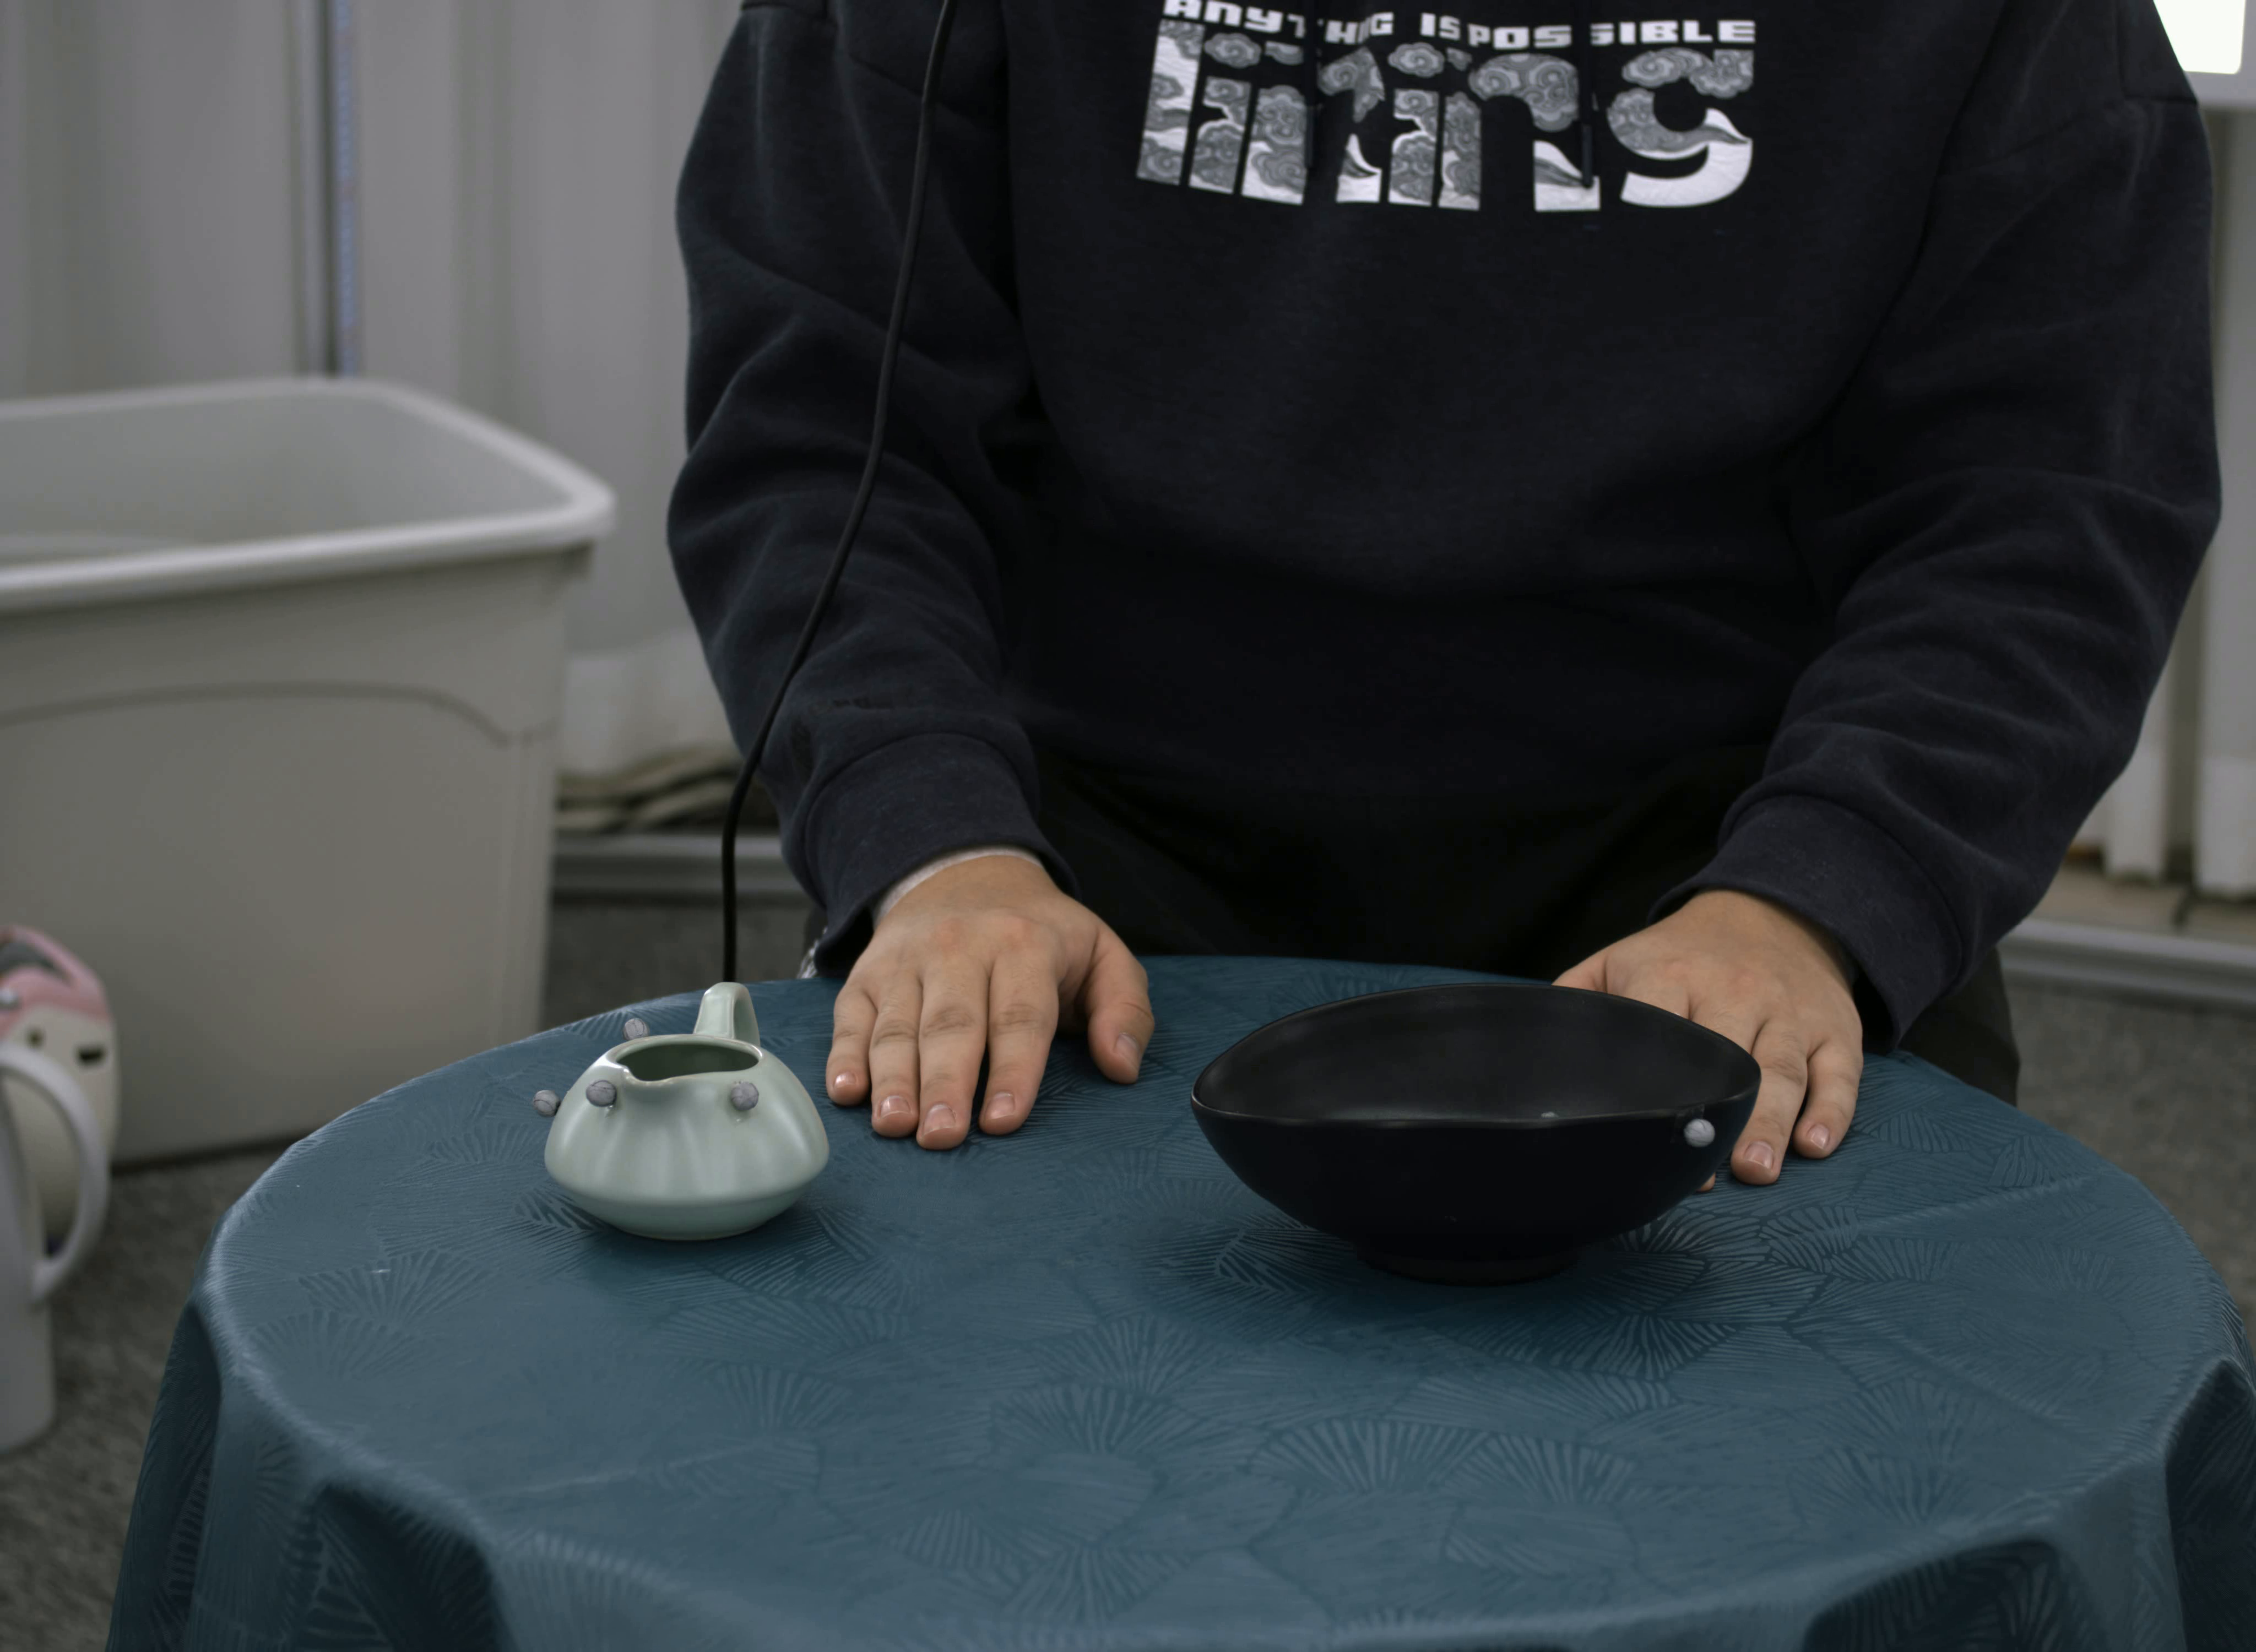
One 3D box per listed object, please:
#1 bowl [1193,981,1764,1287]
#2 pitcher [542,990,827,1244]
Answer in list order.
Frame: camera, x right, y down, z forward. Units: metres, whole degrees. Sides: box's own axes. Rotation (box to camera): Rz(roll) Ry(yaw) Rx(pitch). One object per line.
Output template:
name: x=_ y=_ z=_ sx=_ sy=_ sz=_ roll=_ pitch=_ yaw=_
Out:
bowl: x=0.104 y=0.097 z=1.571 sx=0.170 sy=0.067 sz=0.136 roll=-1 pitch=15 yaw=-4
pitcher: x=-0.132 y=0.089 z=1.601 sx=0.085 sy=0.061 sz=0.108 roll=4 pitch=14 yaw=9
